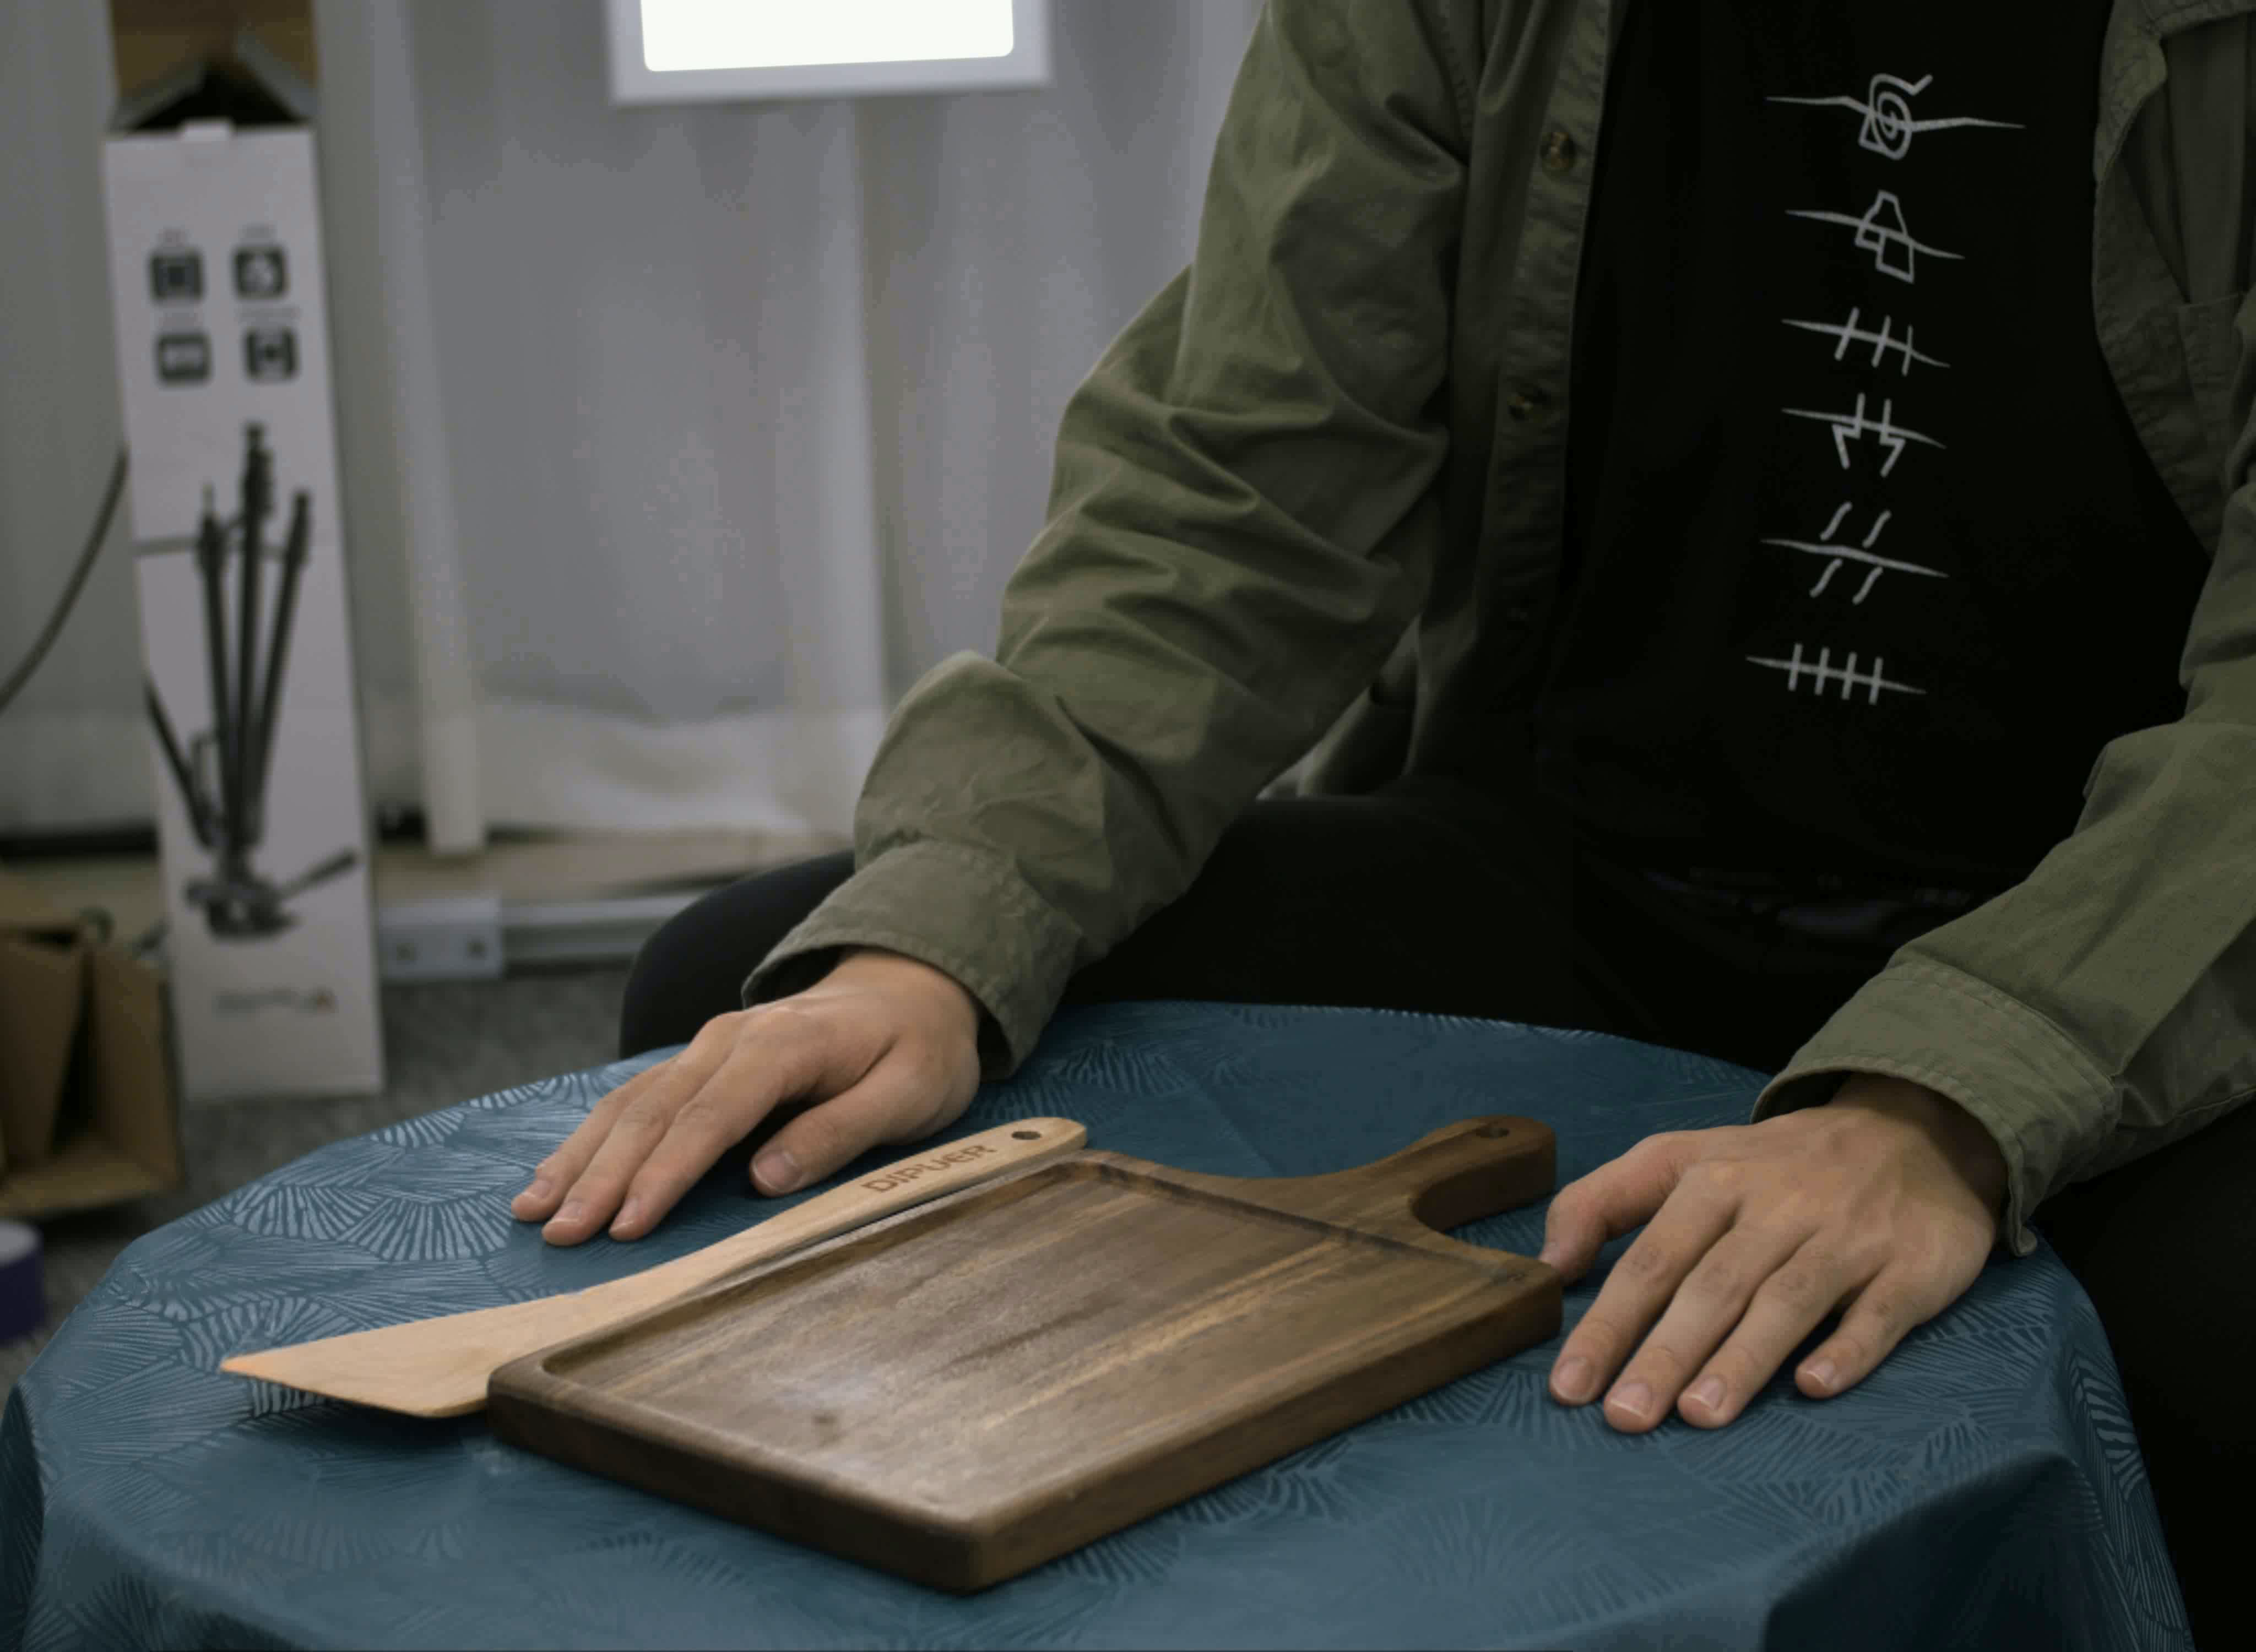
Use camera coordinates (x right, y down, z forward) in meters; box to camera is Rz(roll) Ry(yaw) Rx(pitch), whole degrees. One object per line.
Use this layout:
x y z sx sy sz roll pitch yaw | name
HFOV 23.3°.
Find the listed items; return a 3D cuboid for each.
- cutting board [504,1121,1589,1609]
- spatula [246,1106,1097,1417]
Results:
0.013 0.141 1.576 0.202 0.023 0.351 12 21 43 | cutting board
-0.120 0.128 1.657 0.080 0.016 0.327 10 20 40 | spatula
